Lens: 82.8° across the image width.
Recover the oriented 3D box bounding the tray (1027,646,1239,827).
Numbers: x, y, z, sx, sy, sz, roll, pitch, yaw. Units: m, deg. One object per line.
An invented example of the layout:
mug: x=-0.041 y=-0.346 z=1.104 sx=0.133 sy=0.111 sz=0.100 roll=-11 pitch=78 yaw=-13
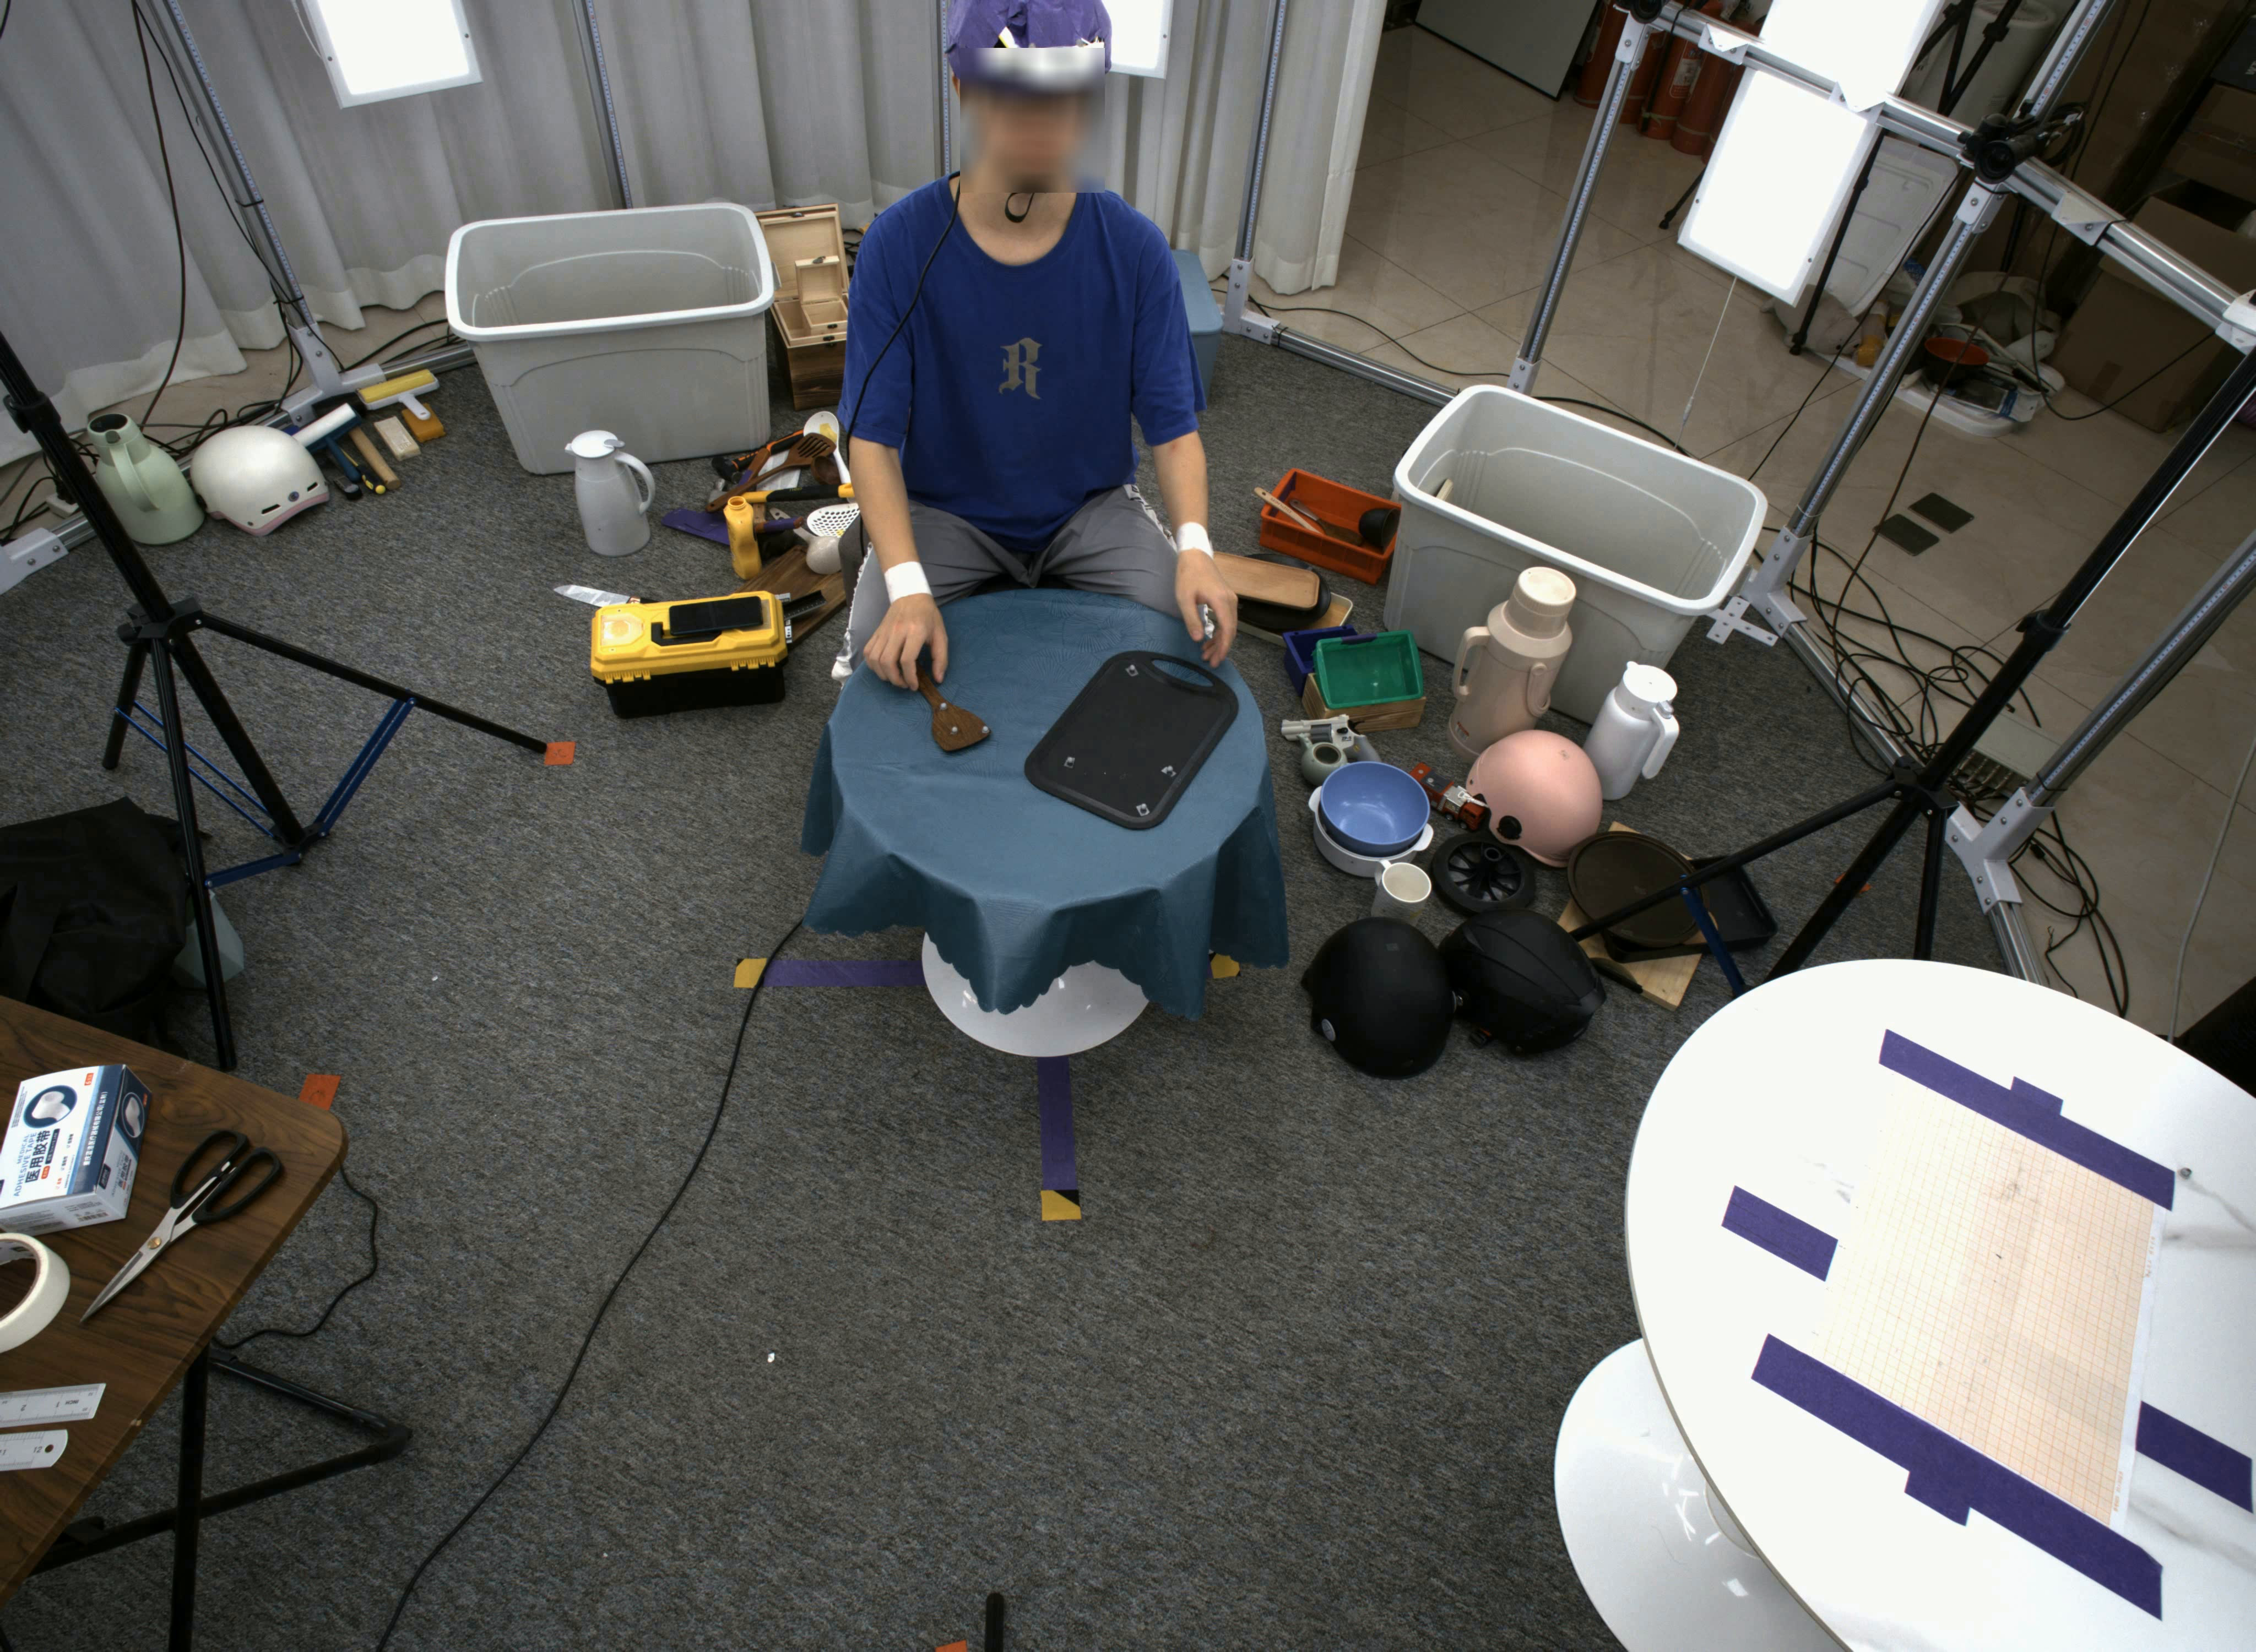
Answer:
tray: x=0.014 y=-0.138 z=1.785 sx=0.212 sy=0.009 sz=0.331 roll=24 pitch=53 yaw=16

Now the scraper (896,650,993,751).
scraper: x=-0.268 y=-0.180 z=1.806 sx=0.076 sy=0.010 sz=0.215 roll=-23 pitch=54 yaw=-22
